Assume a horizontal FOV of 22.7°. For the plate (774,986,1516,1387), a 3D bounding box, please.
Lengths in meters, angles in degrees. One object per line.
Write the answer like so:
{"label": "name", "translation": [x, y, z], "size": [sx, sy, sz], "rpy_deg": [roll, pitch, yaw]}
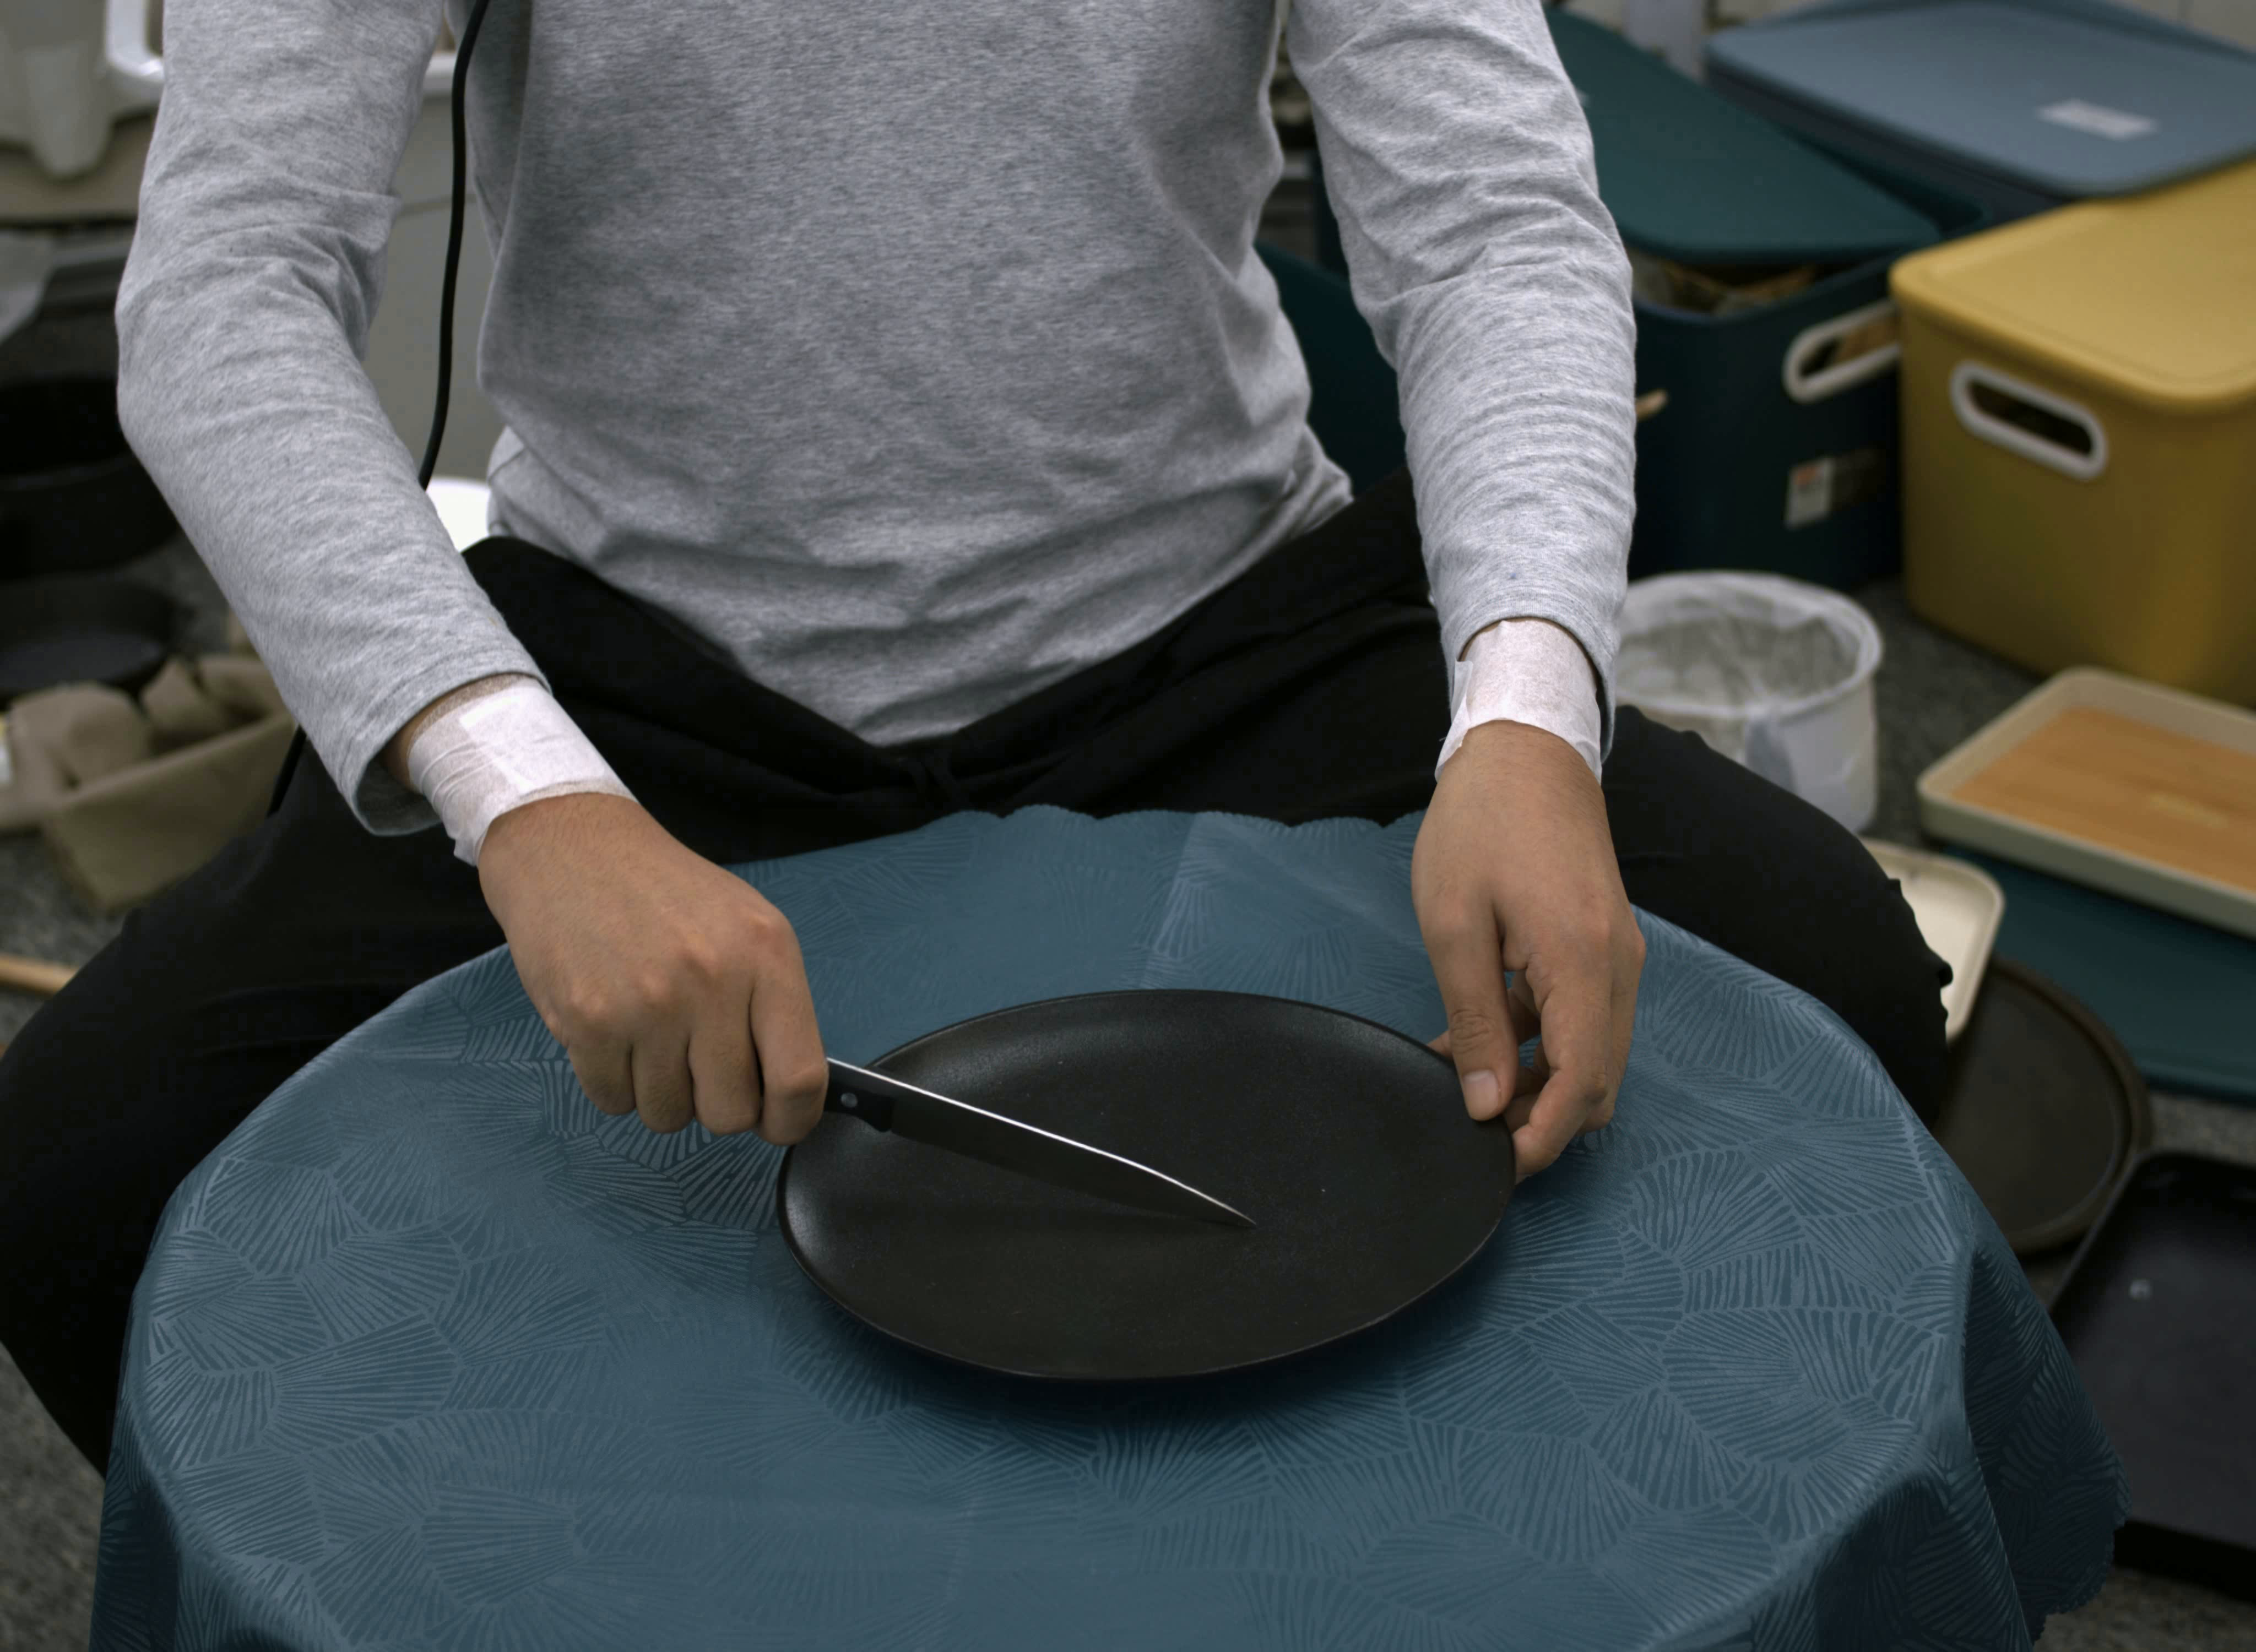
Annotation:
{"label": "plate", "translation": [0.006, 0.121, 1.836], "size": [0.243, 0.023, 0.248], "rpy_deg": [-2, 28, 1]}

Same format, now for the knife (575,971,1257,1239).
{"label": "knife", "translation": [-0.069, 0.092, 1.836], "size": [0.237, 0.024, 0.016], "rpy_deg": [19, 35, 7]}
